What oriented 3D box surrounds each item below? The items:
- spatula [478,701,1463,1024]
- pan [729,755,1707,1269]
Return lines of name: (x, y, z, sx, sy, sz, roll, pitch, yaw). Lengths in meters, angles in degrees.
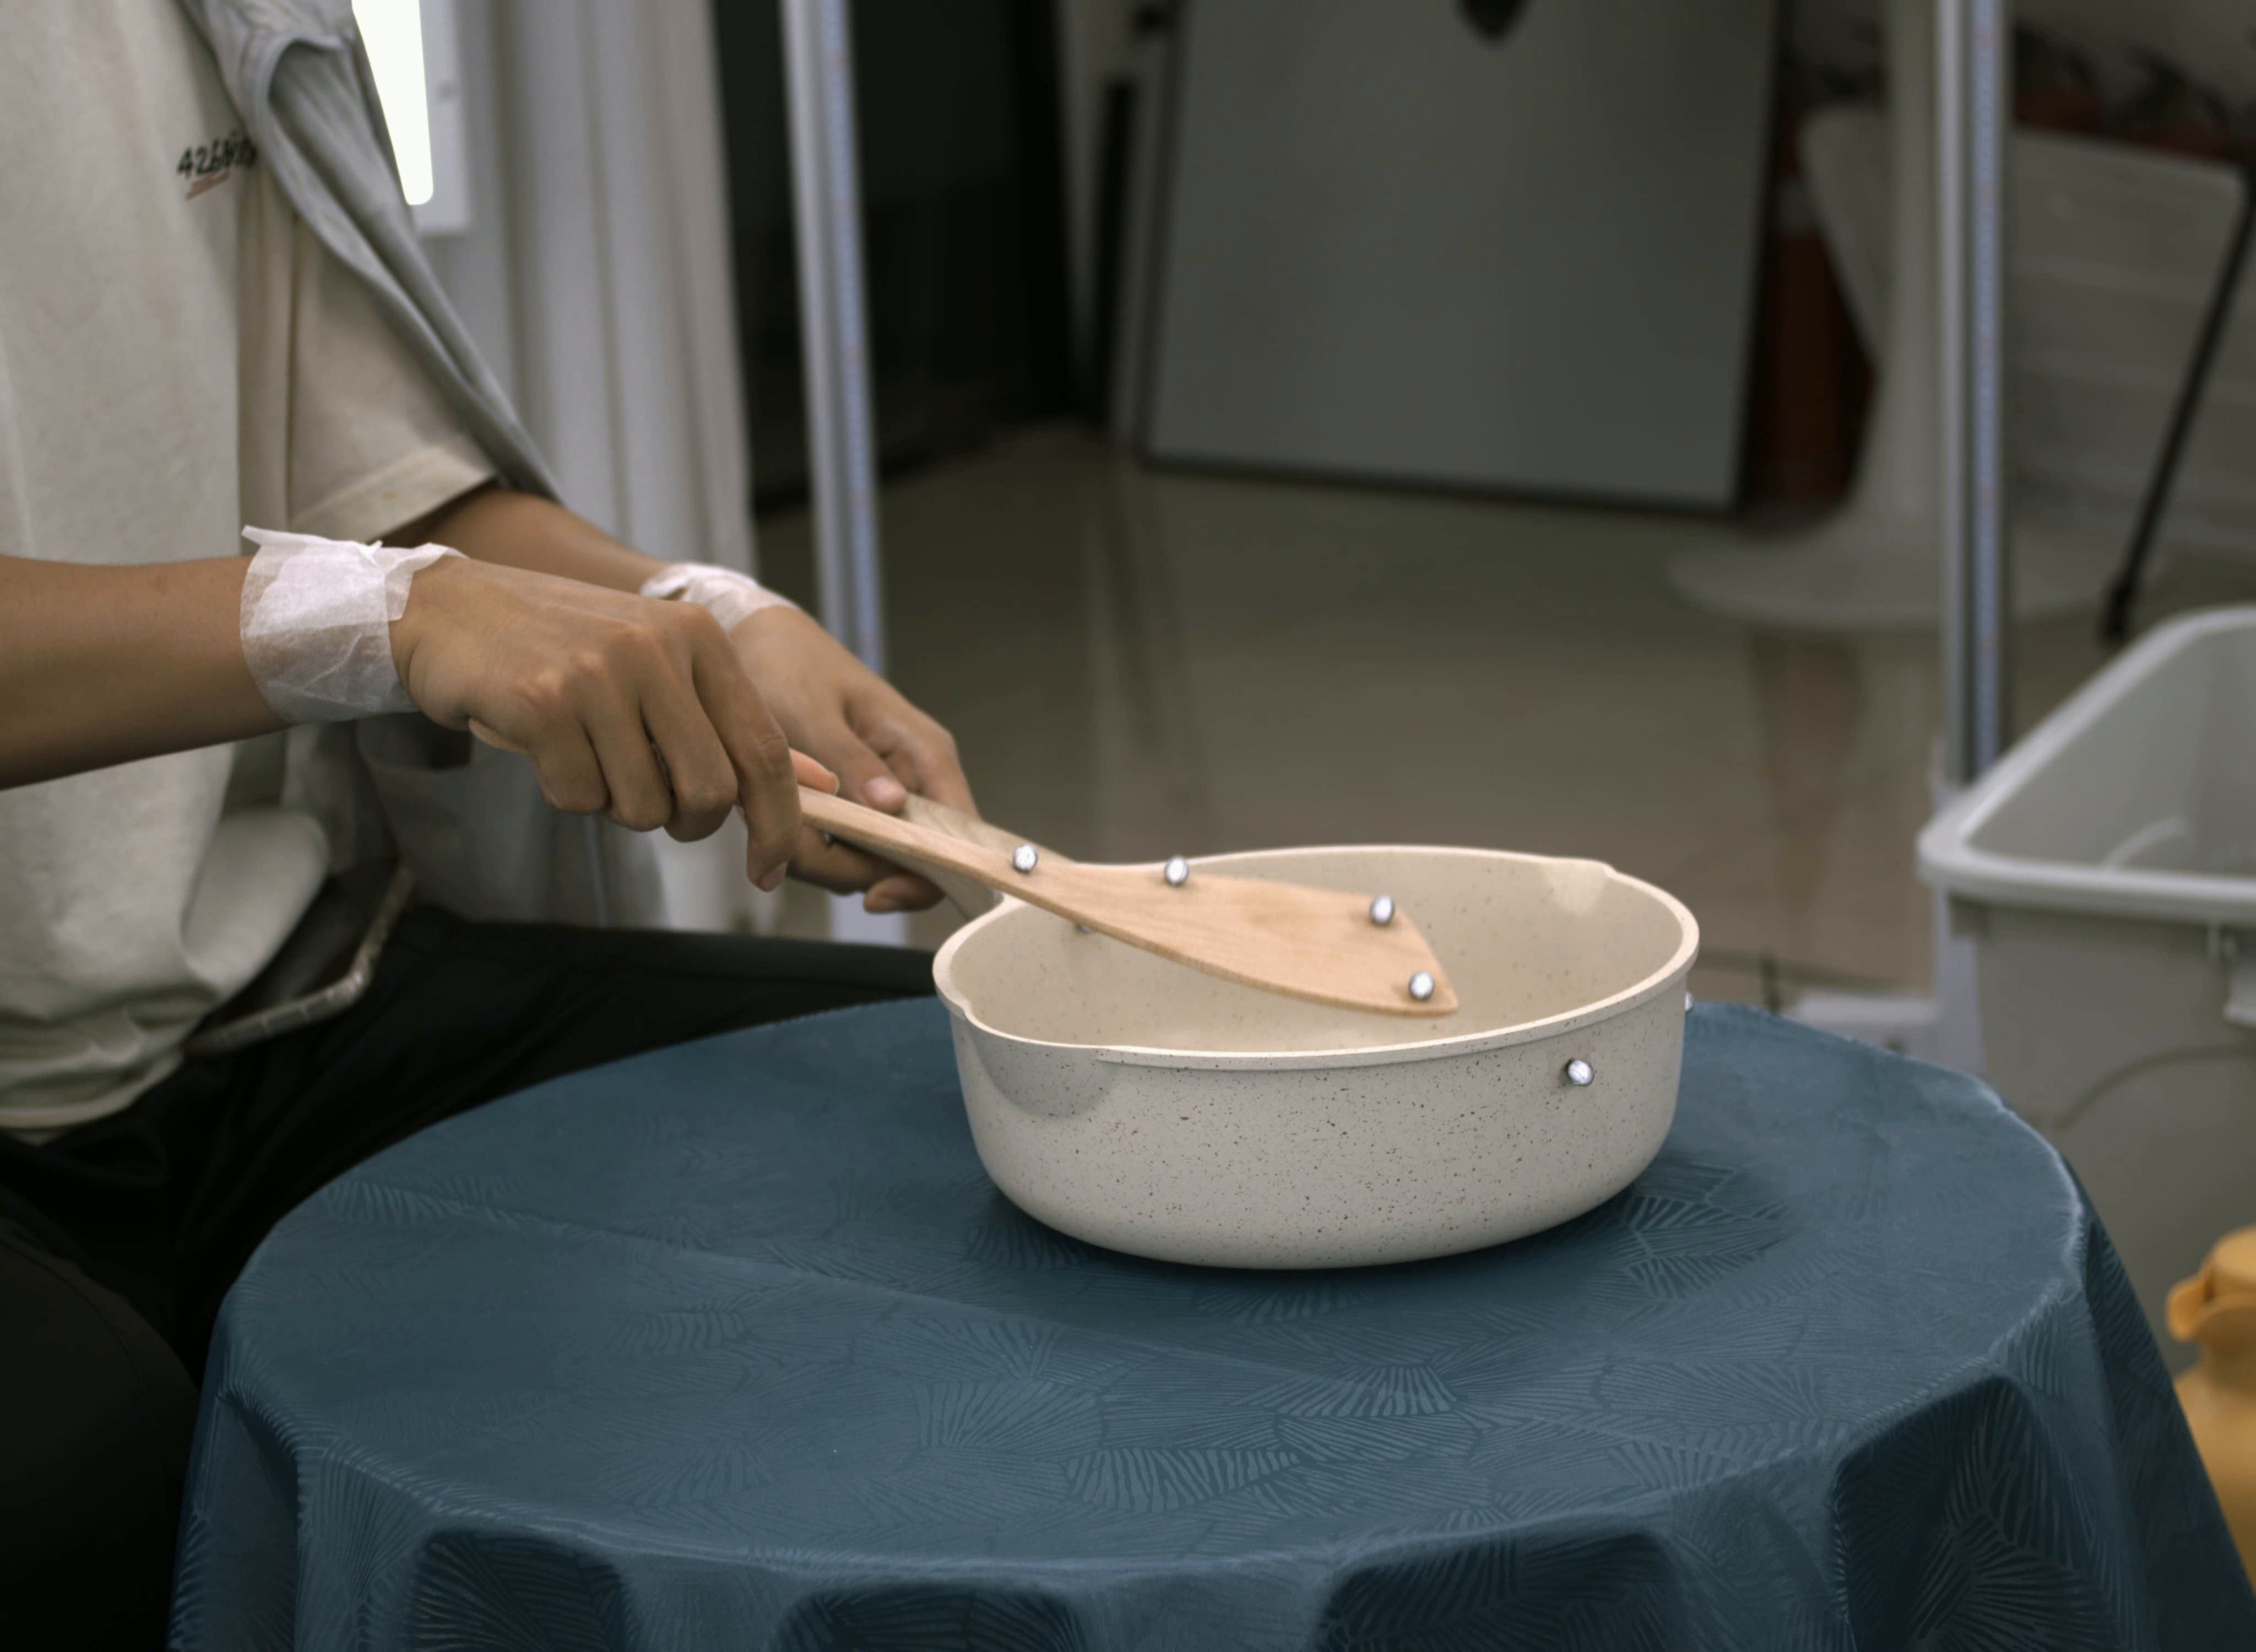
spatula: (-0.049, 0.008, 1.718, 0.322, 0.017, 0.080, 17, 22, -10)
pan: (0.007, 0.054, 1.832, 0.258, 0.103, 0.439, -16, 19, -37)
